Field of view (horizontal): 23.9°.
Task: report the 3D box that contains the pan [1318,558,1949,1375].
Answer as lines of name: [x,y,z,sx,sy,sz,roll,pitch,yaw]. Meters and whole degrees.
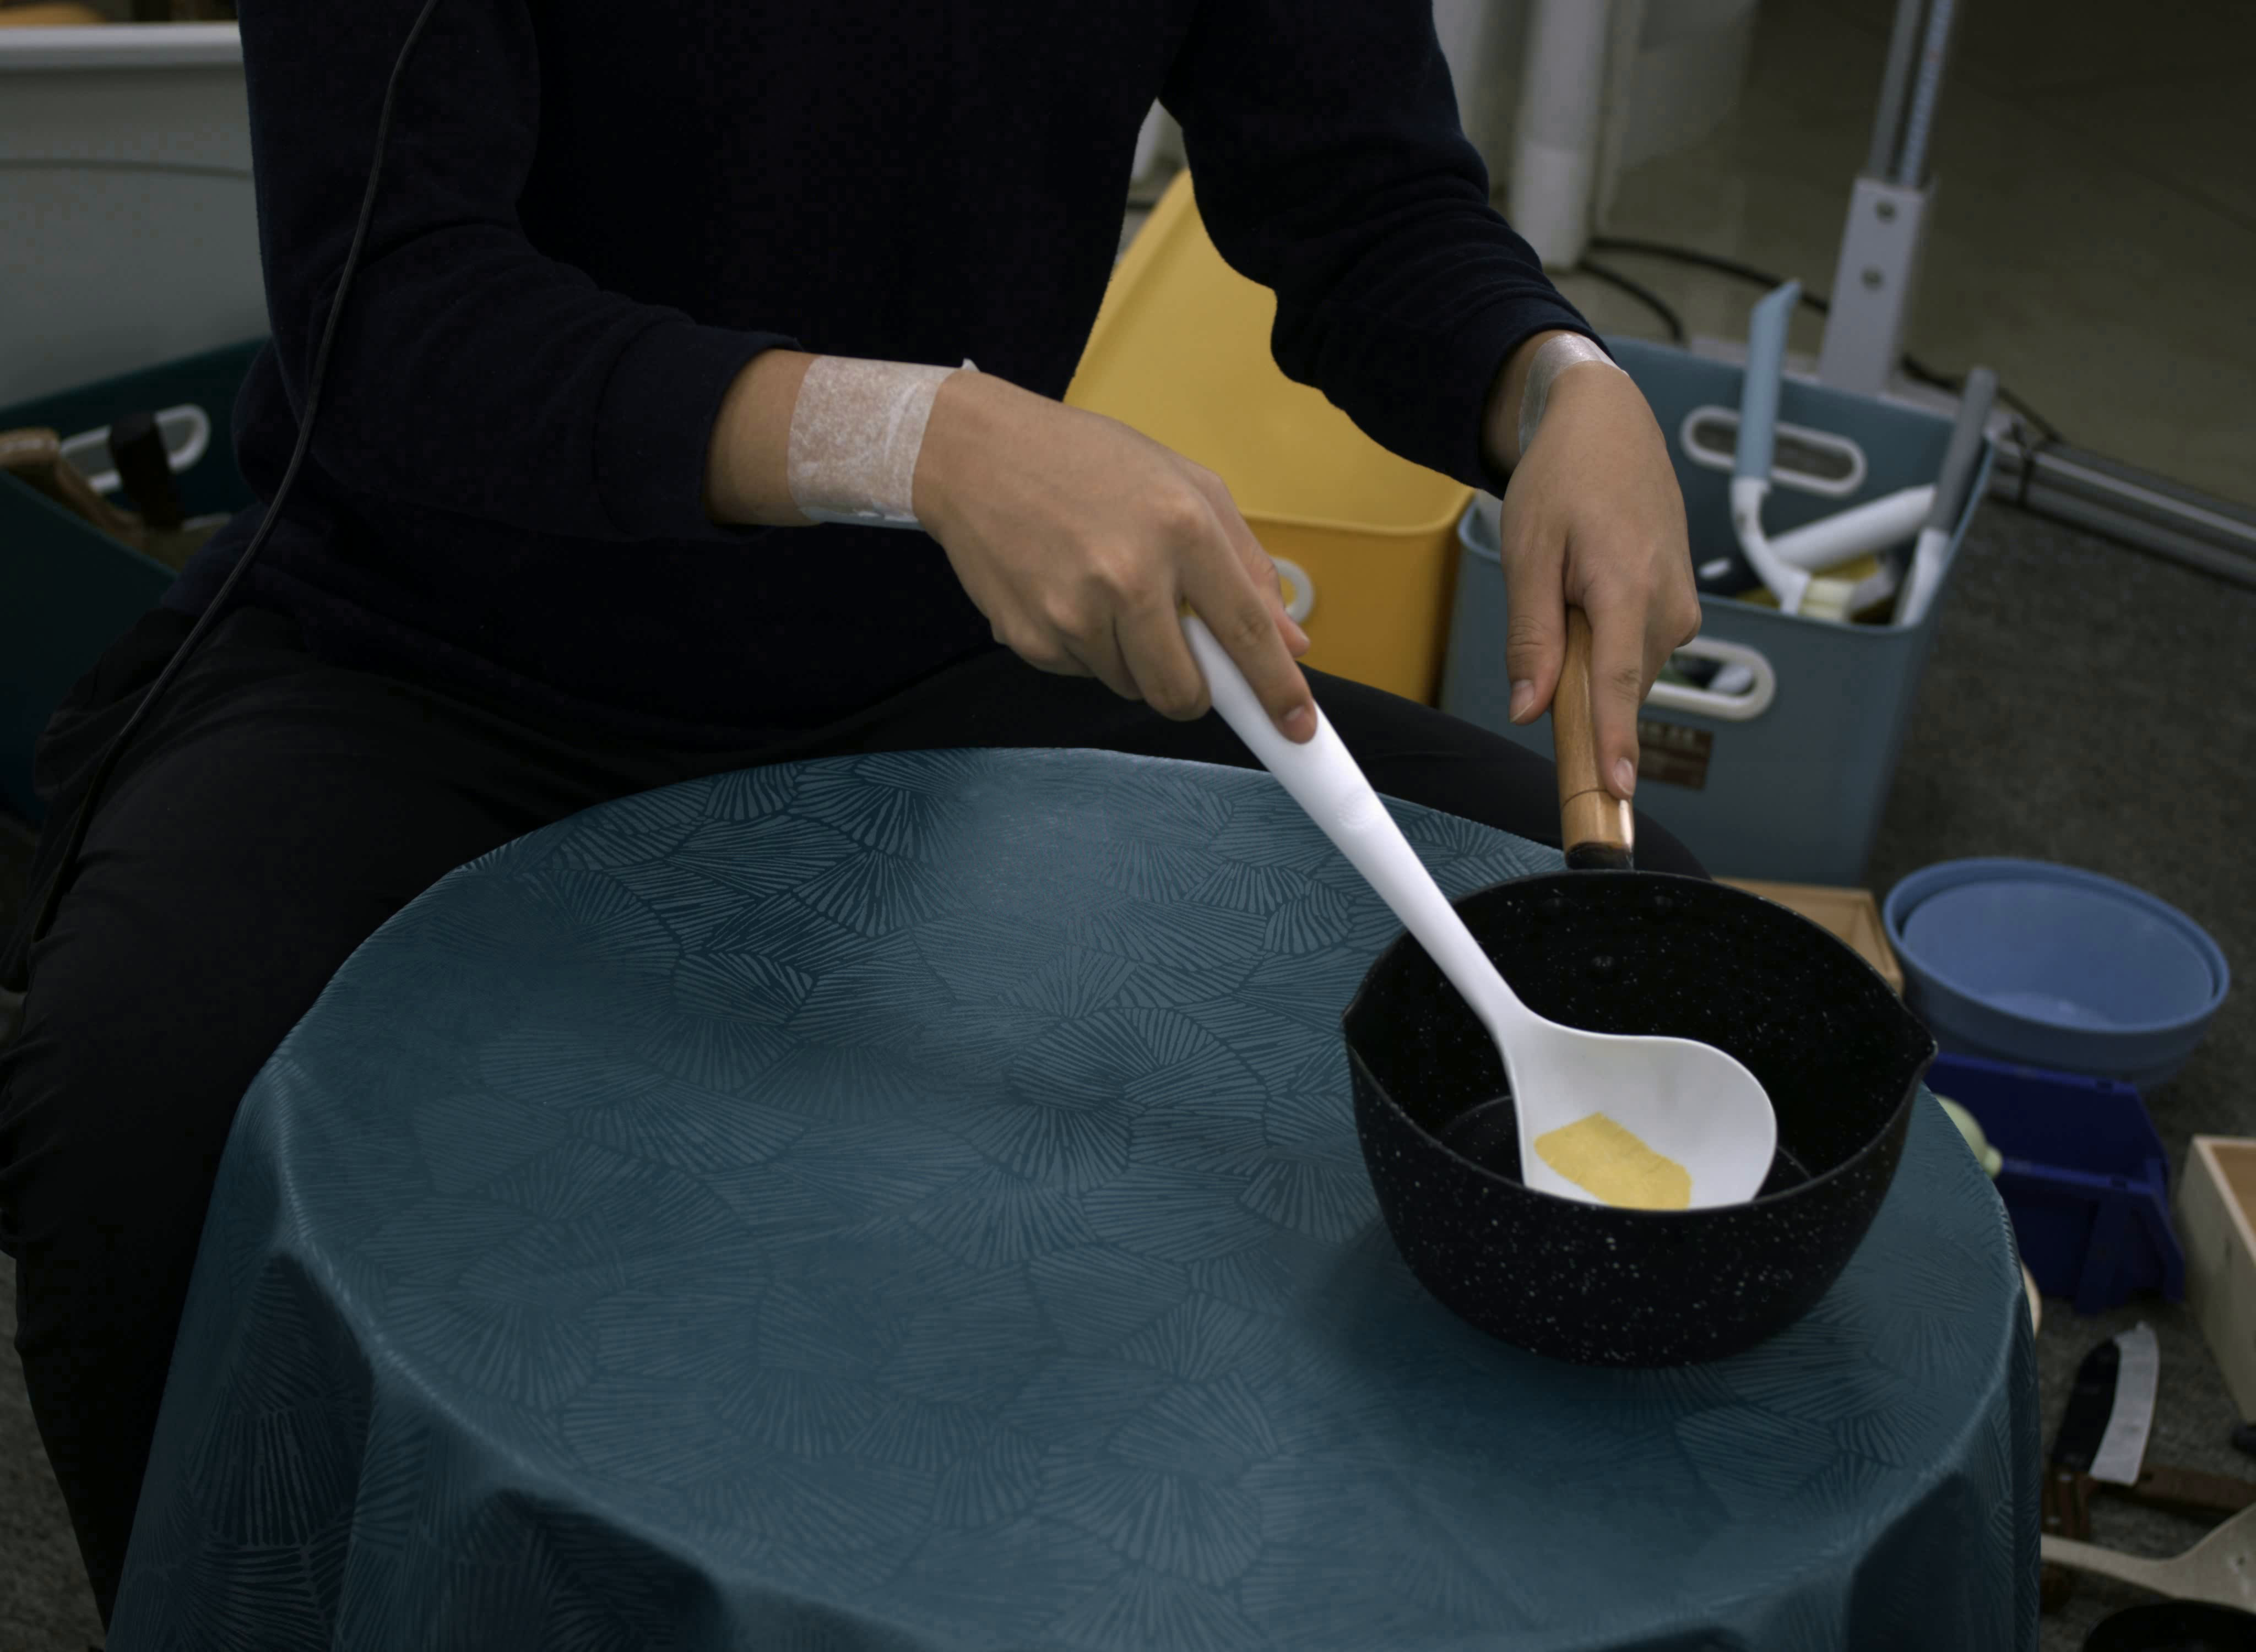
pan: [0.163,0.046,1.826,0.207,0.107,0.345,-1,37,-2]

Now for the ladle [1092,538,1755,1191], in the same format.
ladle: [0.093,0.027,1.759,0.090,0.292,0.070,-40,9,-7]
